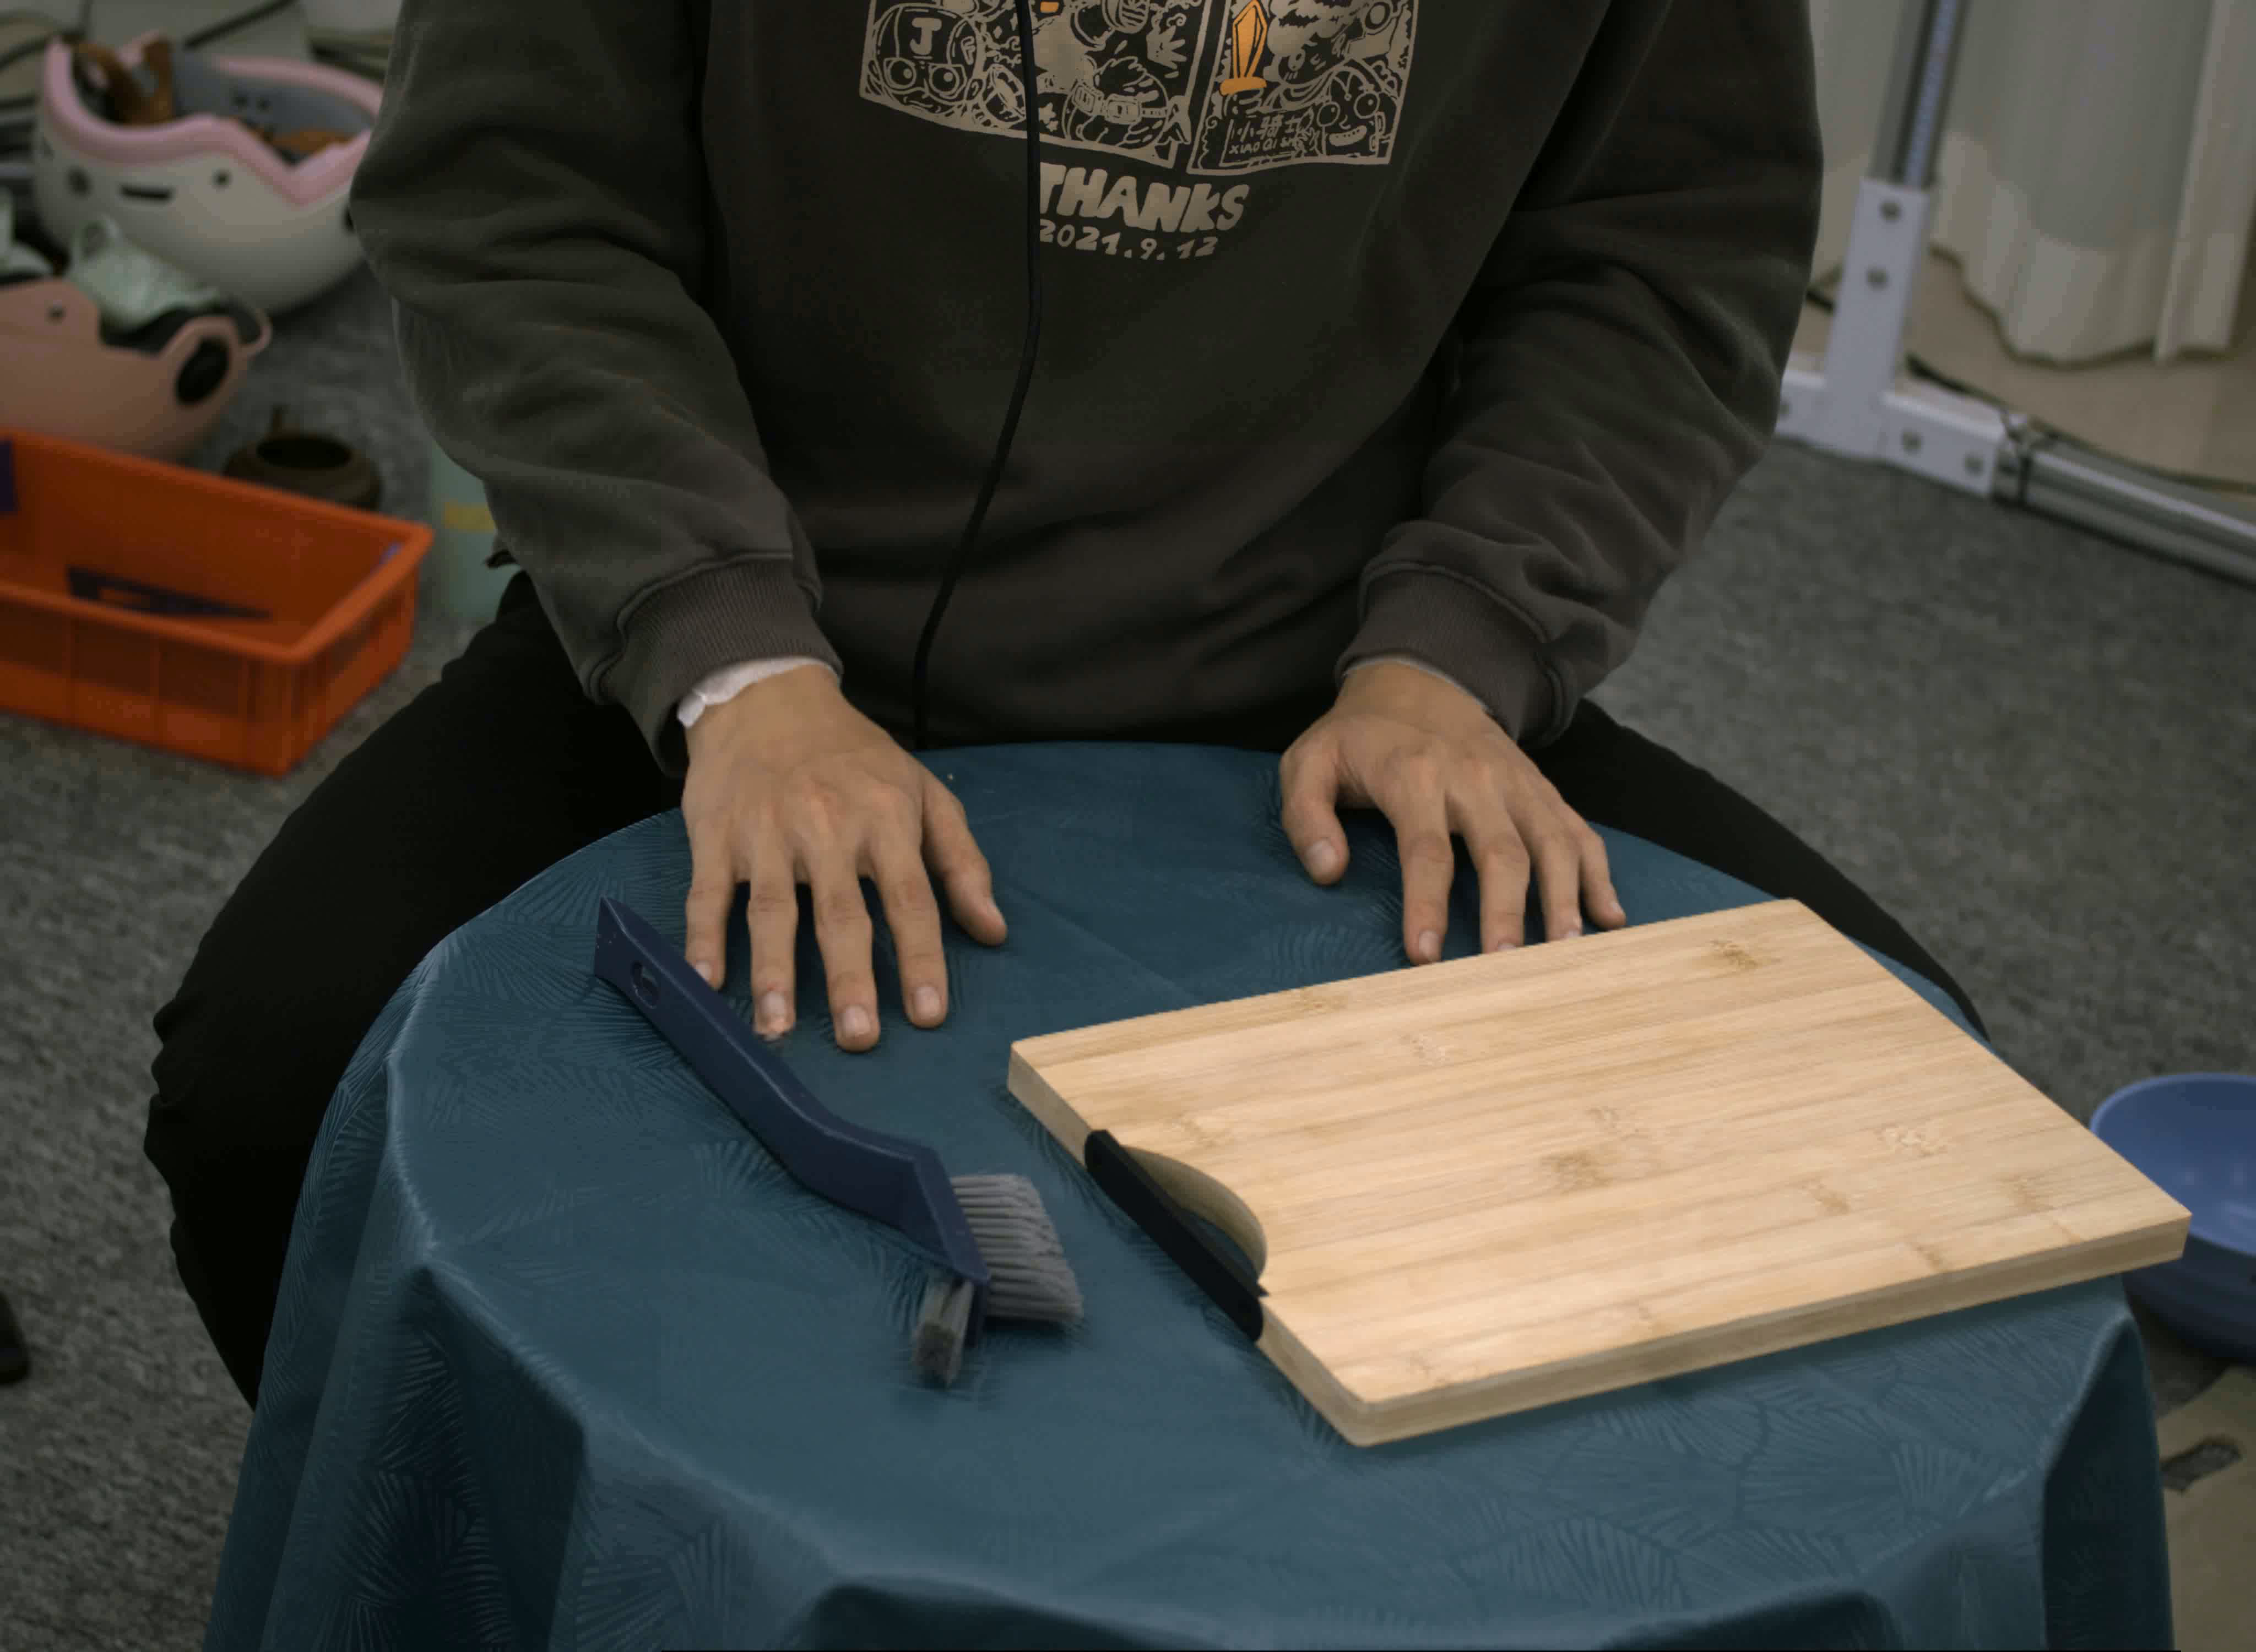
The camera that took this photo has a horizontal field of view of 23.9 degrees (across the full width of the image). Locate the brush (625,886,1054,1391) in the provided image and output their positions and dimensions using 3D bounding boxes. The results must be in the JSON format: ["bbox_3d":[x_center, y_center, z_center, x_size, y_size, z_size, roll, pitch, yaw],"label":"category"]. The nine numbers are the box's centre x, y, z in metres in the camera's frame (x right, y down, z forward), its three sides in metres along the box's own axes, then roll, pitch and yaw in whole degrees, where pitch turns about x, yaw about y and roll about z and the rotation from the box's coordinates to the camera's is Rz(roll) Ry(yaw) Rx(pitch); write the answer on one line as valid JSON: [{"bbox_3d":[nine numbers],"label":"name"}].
[{"bbox_3d":[-0.117,0.100,1.790,0.095,0.033,0.275,-15,35,-36],"label":"brush"}]

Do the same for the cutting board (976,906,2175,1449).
[{"bbox_3d":[0.156,0.114,1.840,0.346,0.023,0.253,-9,30,-29],"label":"cutting board"}]
